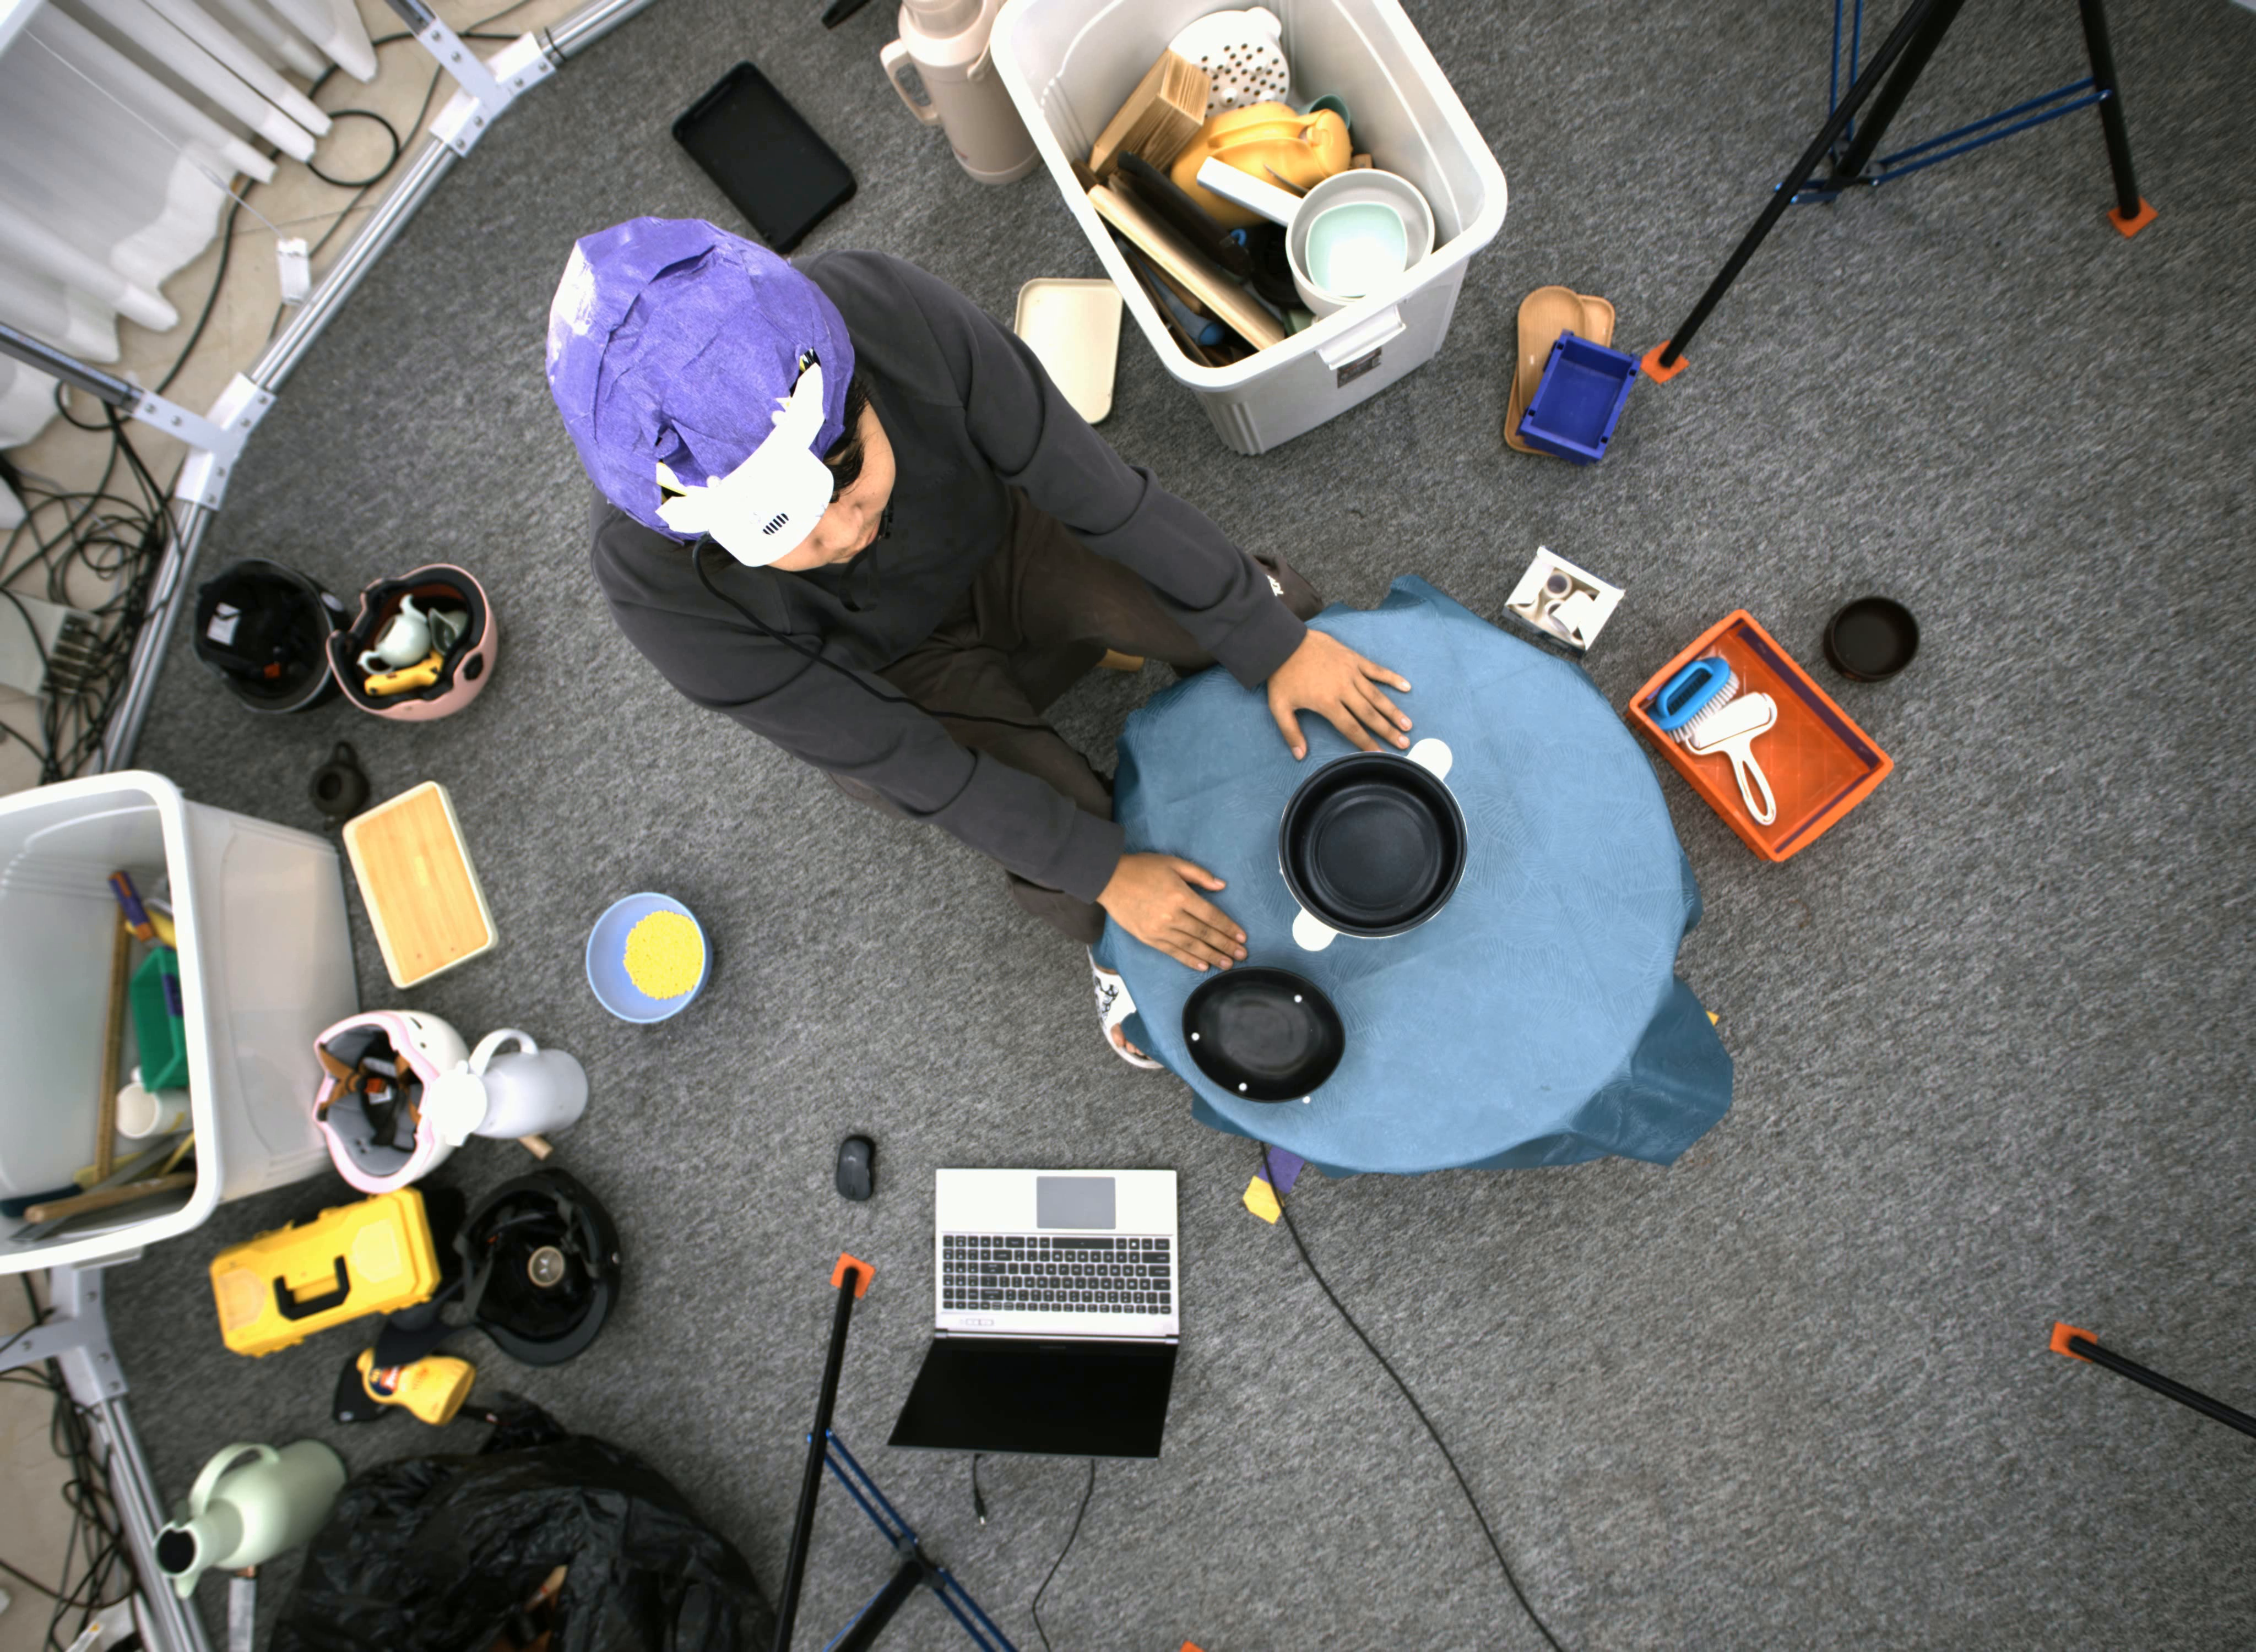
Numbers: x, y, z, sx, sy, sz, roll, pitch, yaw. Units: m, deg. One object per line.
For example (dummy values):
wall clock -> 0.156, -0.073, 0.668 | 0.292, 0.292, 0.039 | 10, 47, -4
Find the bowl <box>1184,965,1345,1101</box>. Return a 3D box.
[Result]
bowl -> 0.142, 0.213, 1.445 | 0.170, 0.067, 0.137 | 11, 88, 13

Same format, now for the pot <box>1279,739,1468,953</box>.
pot -> 0.242, 0.022, 1.399 | 0.190, 0.143, 0.240 | 34, 91, 8
